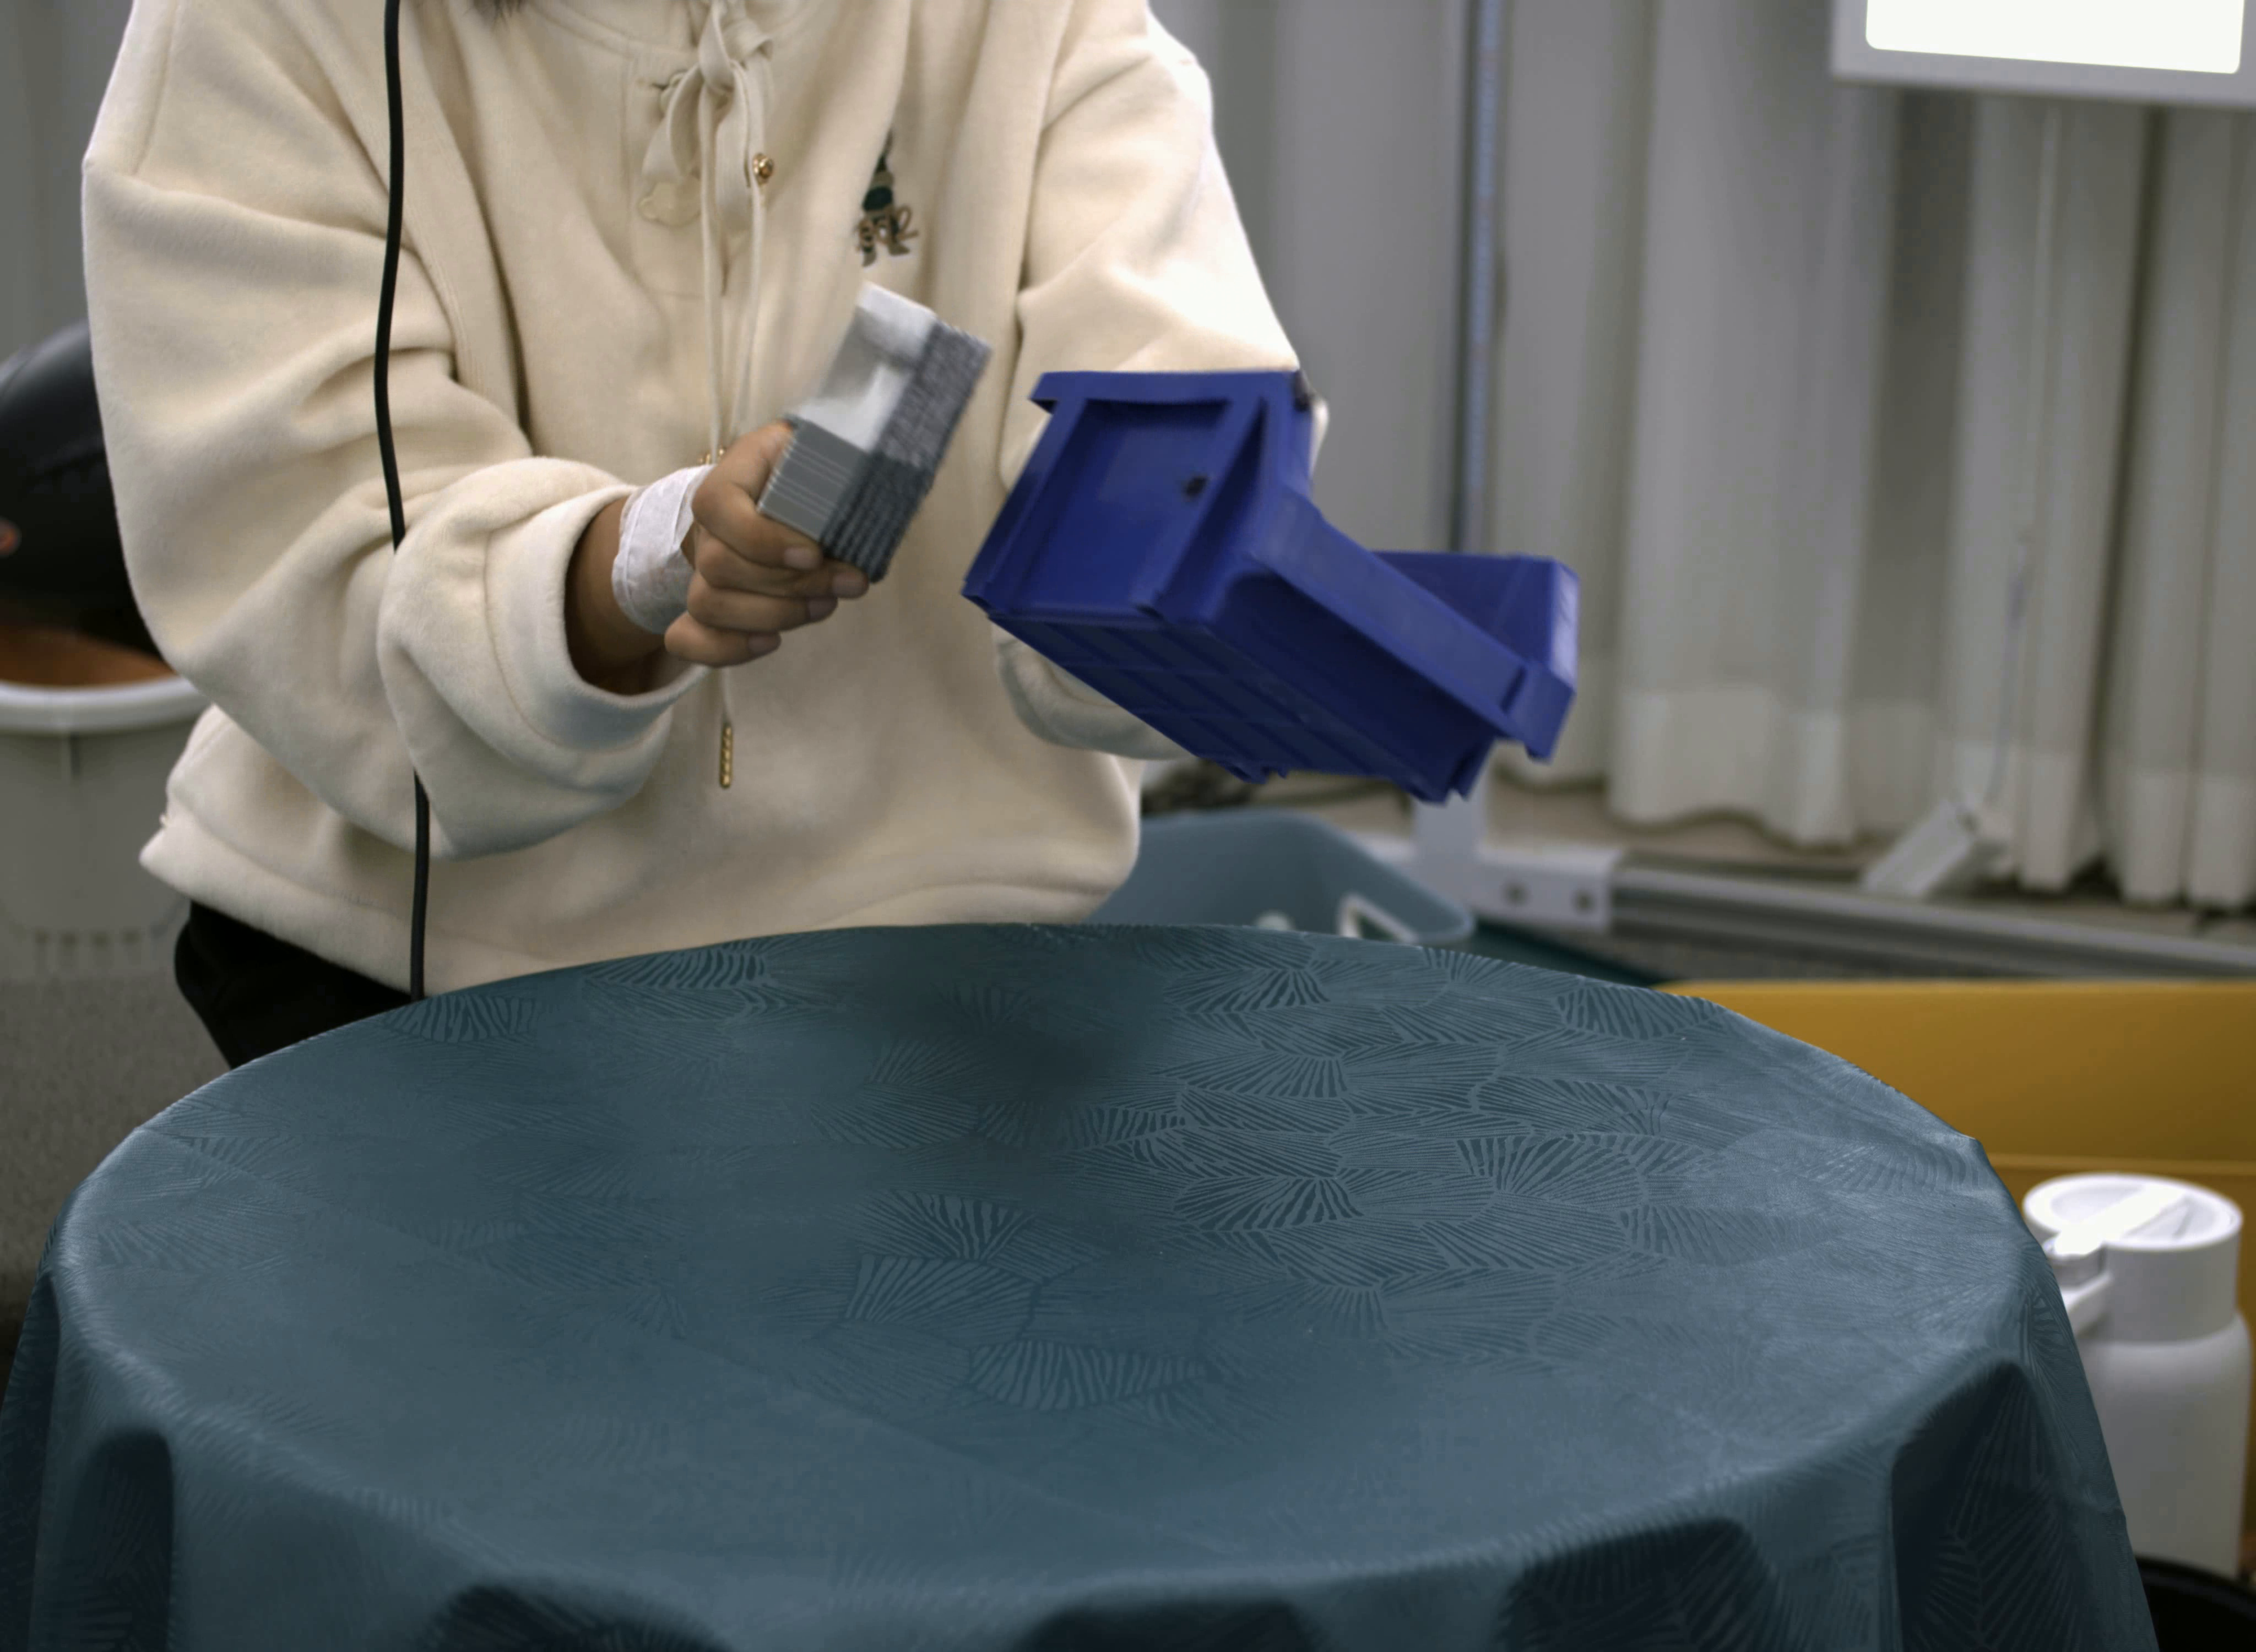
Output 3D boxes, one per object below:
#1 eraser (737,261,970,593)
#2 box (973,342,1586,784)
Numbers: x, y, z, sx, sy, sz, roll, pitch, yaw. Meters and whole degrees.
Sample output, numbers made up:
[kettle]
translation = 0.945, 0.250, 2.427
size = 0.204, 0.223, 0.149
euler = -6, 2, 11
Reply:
[eraser]
translation = -0.085, -0.120, 1.615
size = 0.046, 0.049, 0.134
euler = 24, -19, -4
[box]
translation = 0.048, -0.076, 1.579
size = 0.125, 0.082, 0.178
euler = 32, -15, -25
